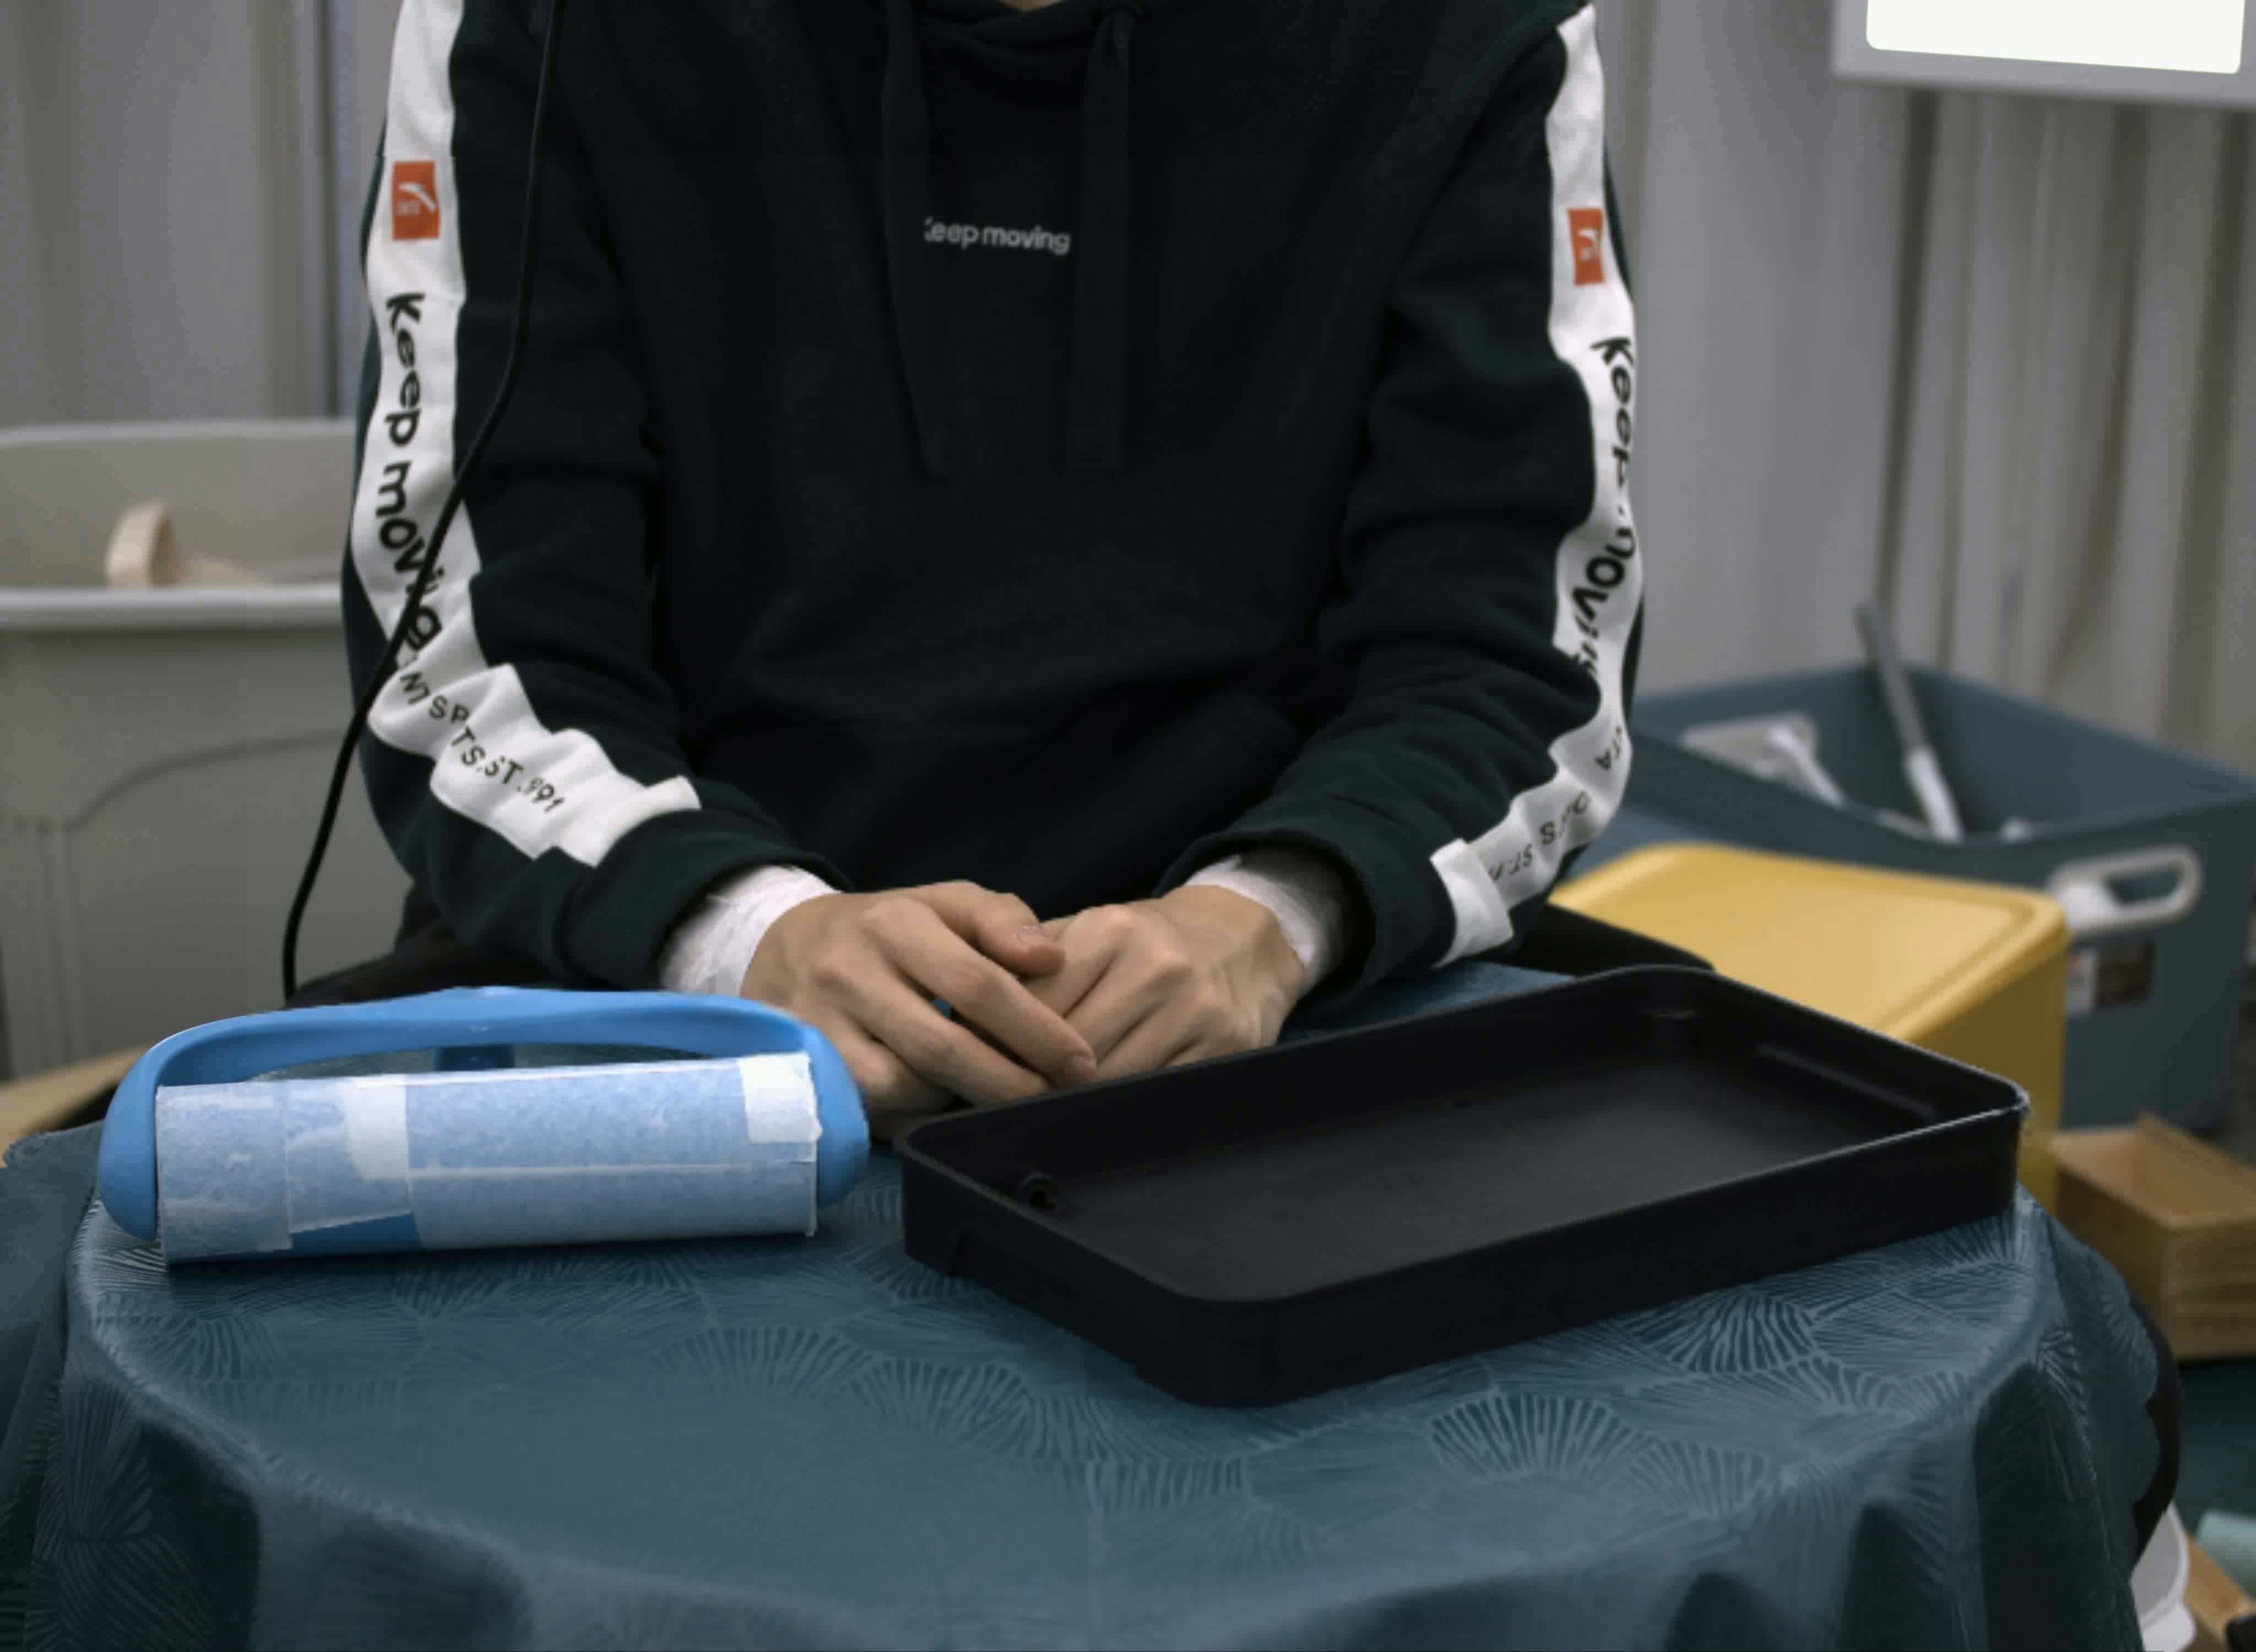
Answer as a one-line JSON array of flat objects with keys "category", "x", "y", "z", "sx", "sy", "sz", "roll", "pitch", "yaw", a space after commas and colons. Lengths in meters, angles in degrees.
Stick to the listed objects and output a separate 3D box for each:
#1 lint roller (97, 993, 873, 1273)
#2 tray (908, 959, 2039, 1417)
[{"category": "lint roller", "x": -0.201, "y": 0.082, "z": 1.616, "sx": 0.229, "sy": 0.068, "sz": 0.178, "roll": -5, "pitch": 17, "yaw": -11}, {"category": "tray", "x": 0.107, "y": 0.103, "z": 1.592, "sx": 0.319, "sy": 0.037, "sz": 0.182, "roll": -12, "pitch": 19, "yaw": -35}]
